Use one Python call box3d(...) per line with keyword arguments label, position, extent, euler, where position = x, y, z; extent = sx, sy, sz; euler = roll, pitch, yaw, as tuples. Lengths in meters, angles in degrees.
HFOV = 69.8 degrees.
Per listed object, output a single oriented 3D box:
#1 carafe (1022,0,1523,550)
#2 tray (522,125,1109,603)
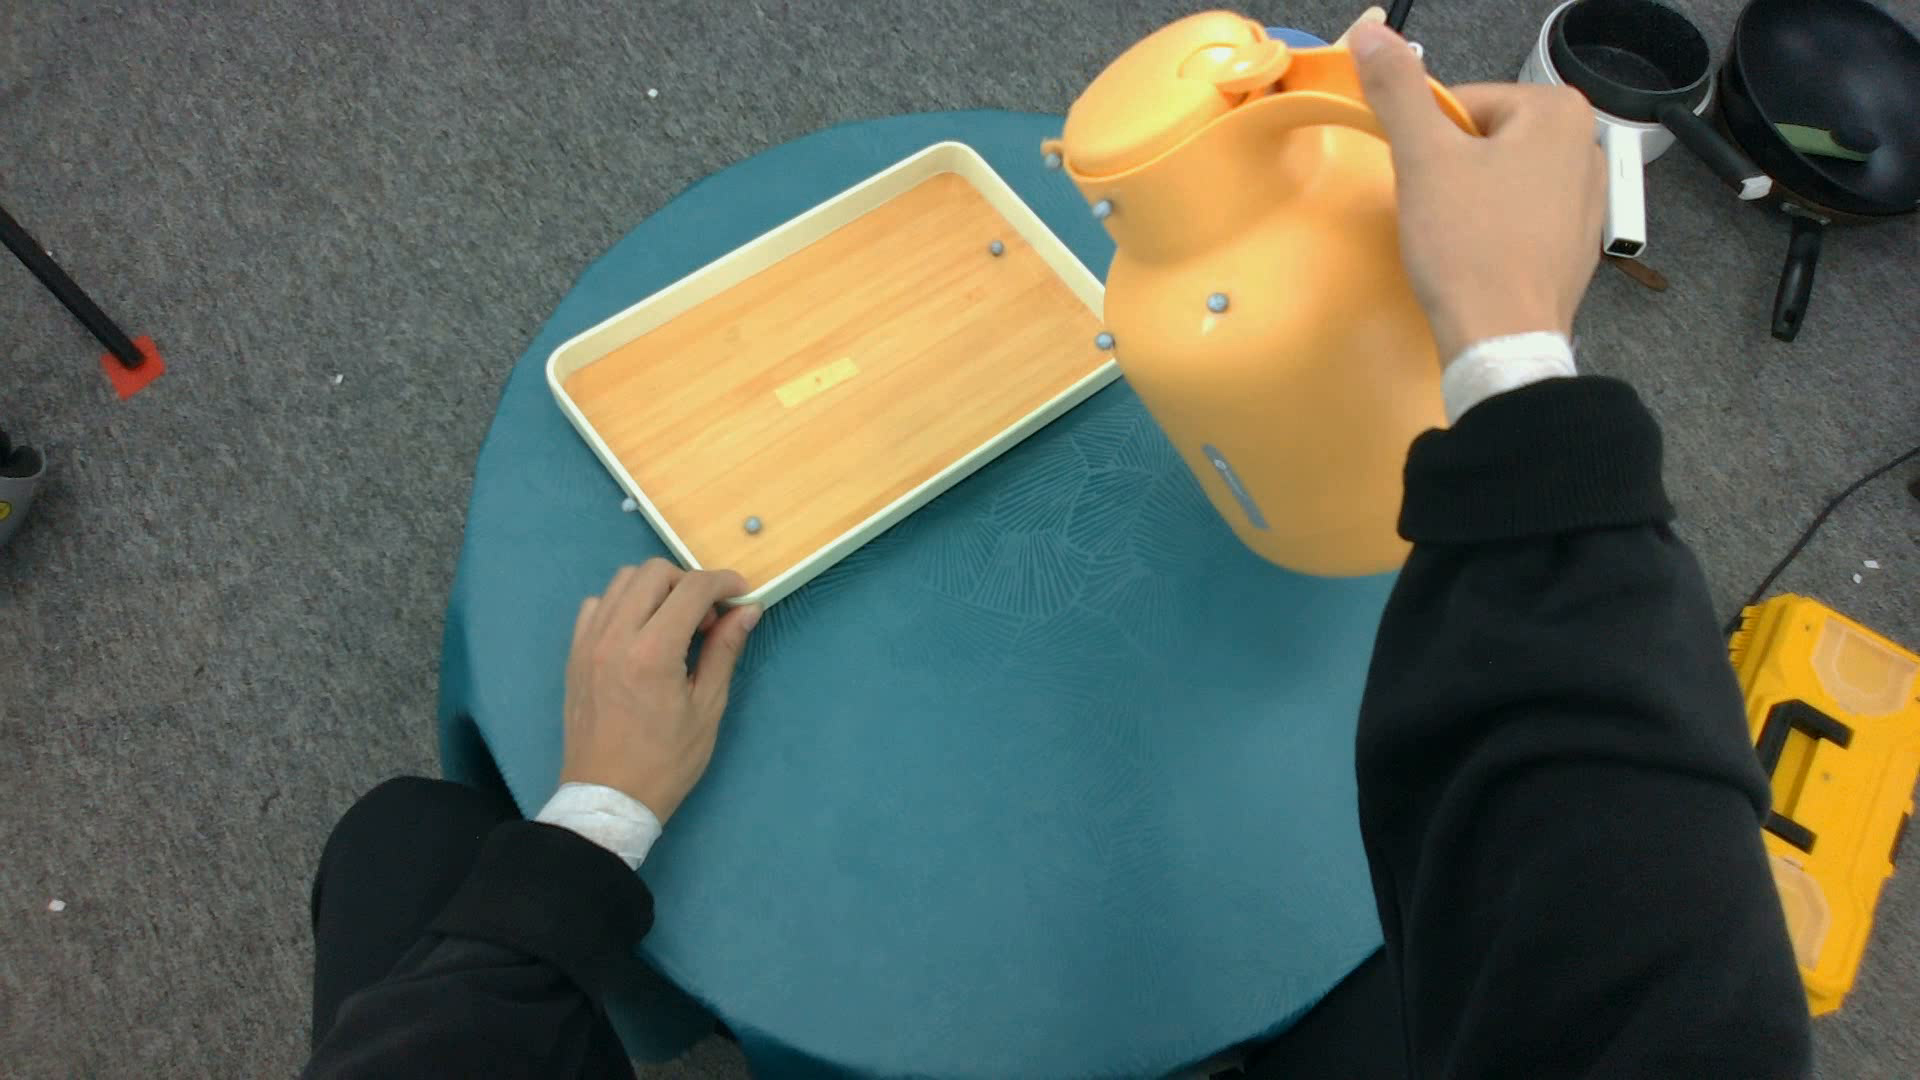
box3d(label="carafe", position=(0.152, -0.119, 0.620), extent=(0.260, 0.202, 0.164), euler=(45, 72, -33))
box3d(label="tray", position=(-0.075, -0.112, 0.793), extent=(0.301, 0.027, 0.192), euler=(-35, 72, -21))
